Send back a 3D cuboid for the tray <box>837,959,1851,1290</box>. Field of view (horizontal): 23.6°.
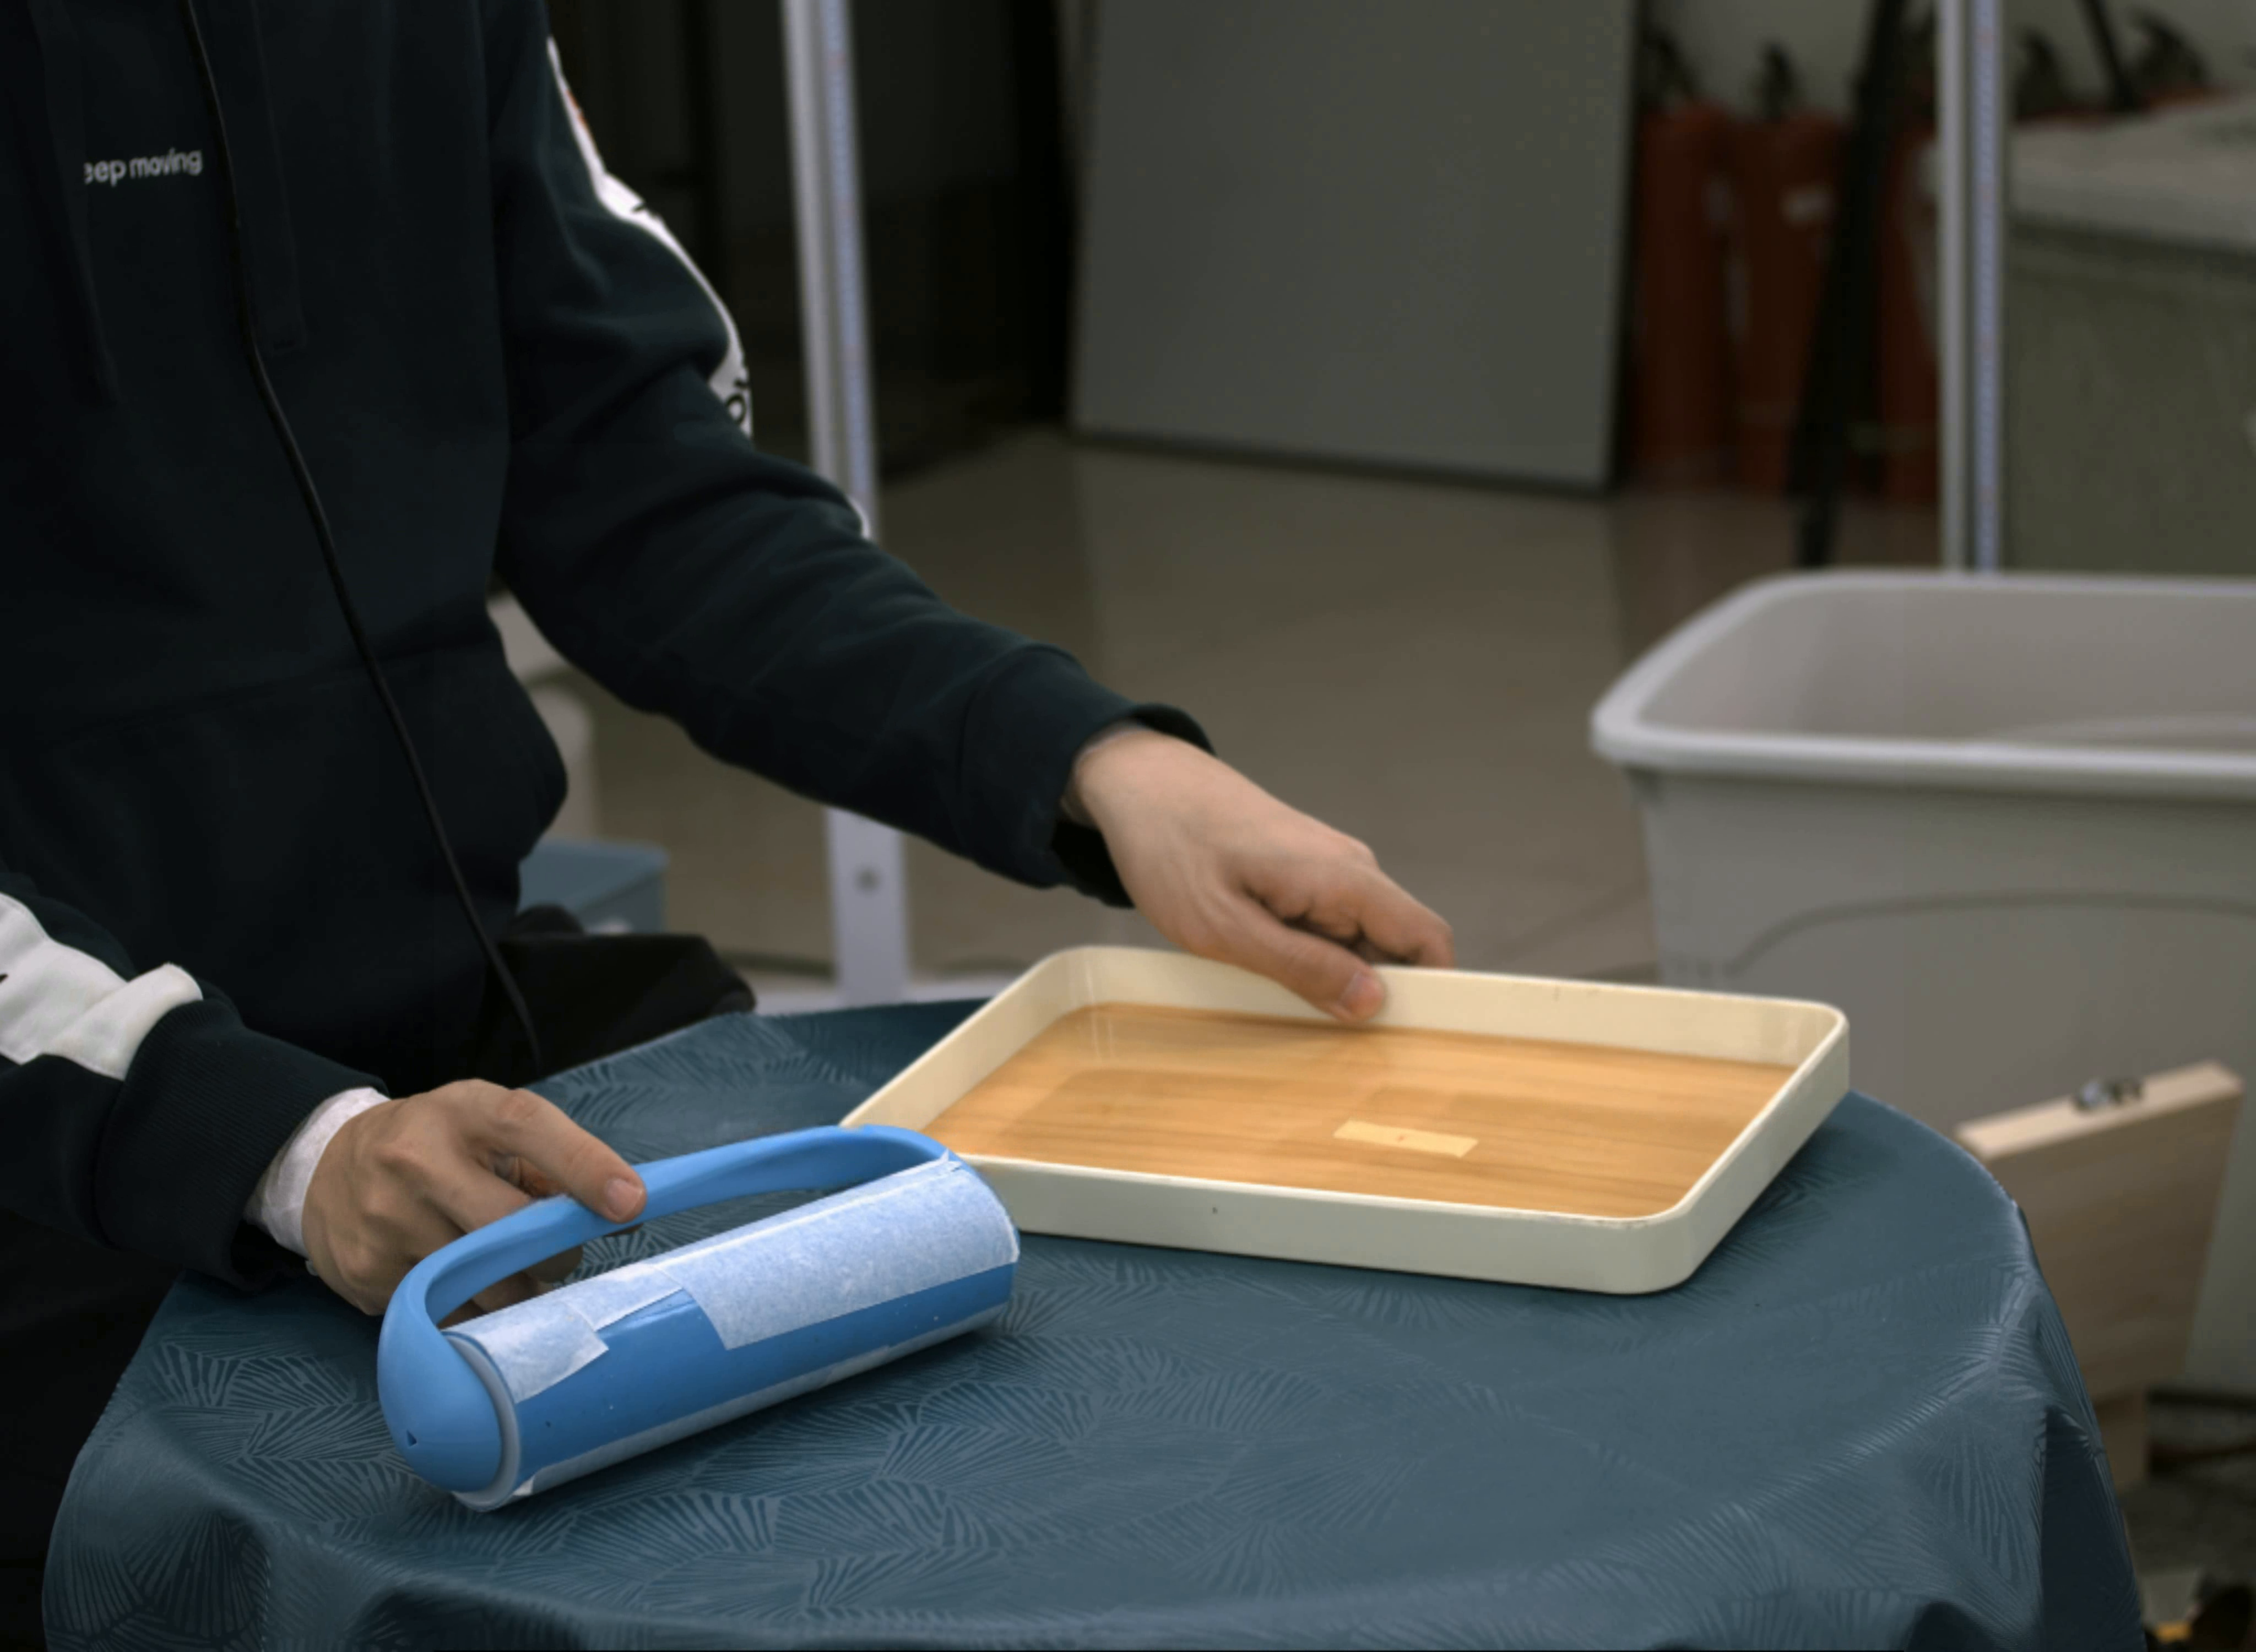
[{"bbox_3d":[0.072,0.095,1.771,0.301,0.027,0.189,3,20,27],"label":"tray"}]

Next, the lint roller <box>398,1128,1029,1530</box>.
[{"bbox_3d":[-0.159,0.140,1.624,0.182,0.068,0.224,11,23,41],"label":"lint roller"}]
